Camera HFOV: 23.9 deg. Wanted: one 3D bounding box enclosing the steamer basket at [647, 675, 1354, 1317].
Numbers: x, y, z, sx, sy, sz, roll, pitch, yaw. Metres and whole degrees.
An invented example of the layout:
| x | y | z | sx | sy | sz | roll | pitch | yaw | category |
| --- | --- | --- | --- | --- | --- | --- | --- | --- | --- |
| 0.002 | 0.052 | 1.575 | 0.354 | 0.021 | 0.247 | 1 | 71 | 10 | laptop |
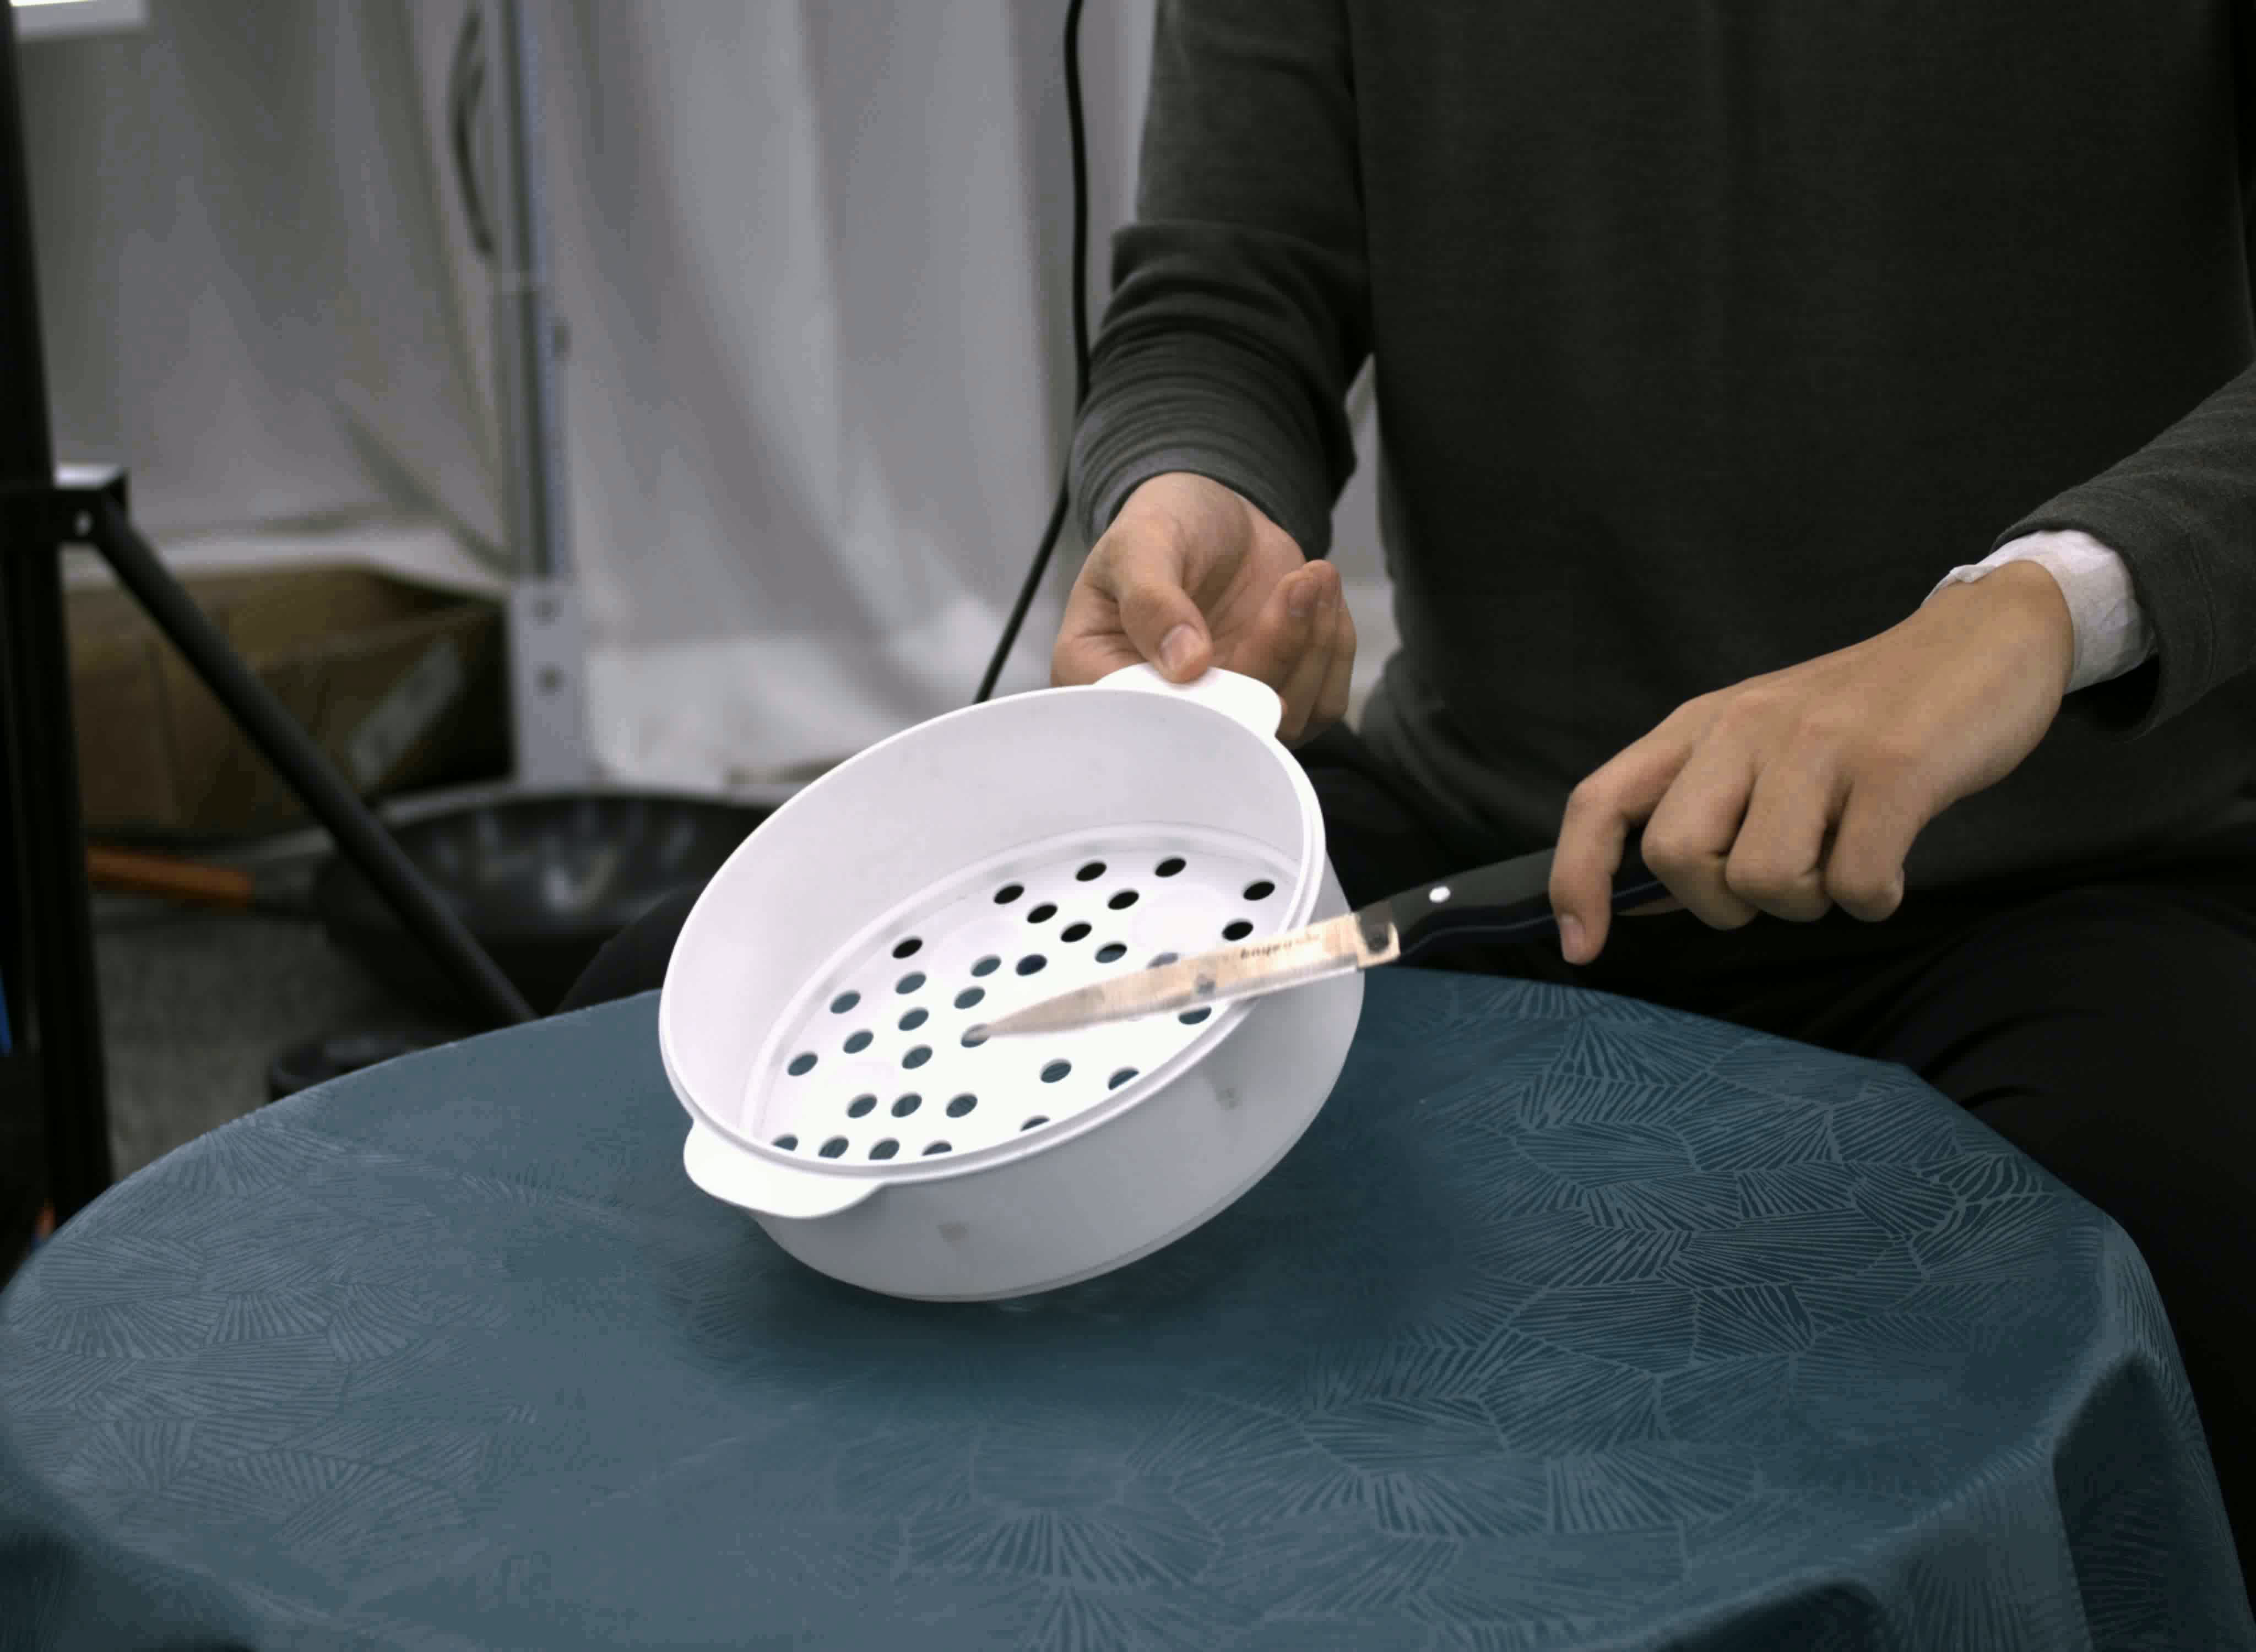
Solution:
| x | y | z | sx | sy | sz | roll | pitch | yaw | category |
| --- | --- | --- | --- | --- | --- | --- | --- | --- | --- |
| -0.034 | 0.052 | 1.520 | 0.206 | 0.068 | 0.228 | 15 | 51 | 40 | steamer basket |

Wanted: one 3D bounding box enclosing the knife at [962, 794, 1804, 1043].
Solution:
| x | y | z | sx | sy | sz | roll | pitch | yaw | category |
| --- | --- | --- | --- | --- | --- | --- | --- | --- | --- |
| 0.066 | 0.028 | 1.436 | 0.239 | 0.016 | 0.024 | -15 | 35 | 14 | knife |
